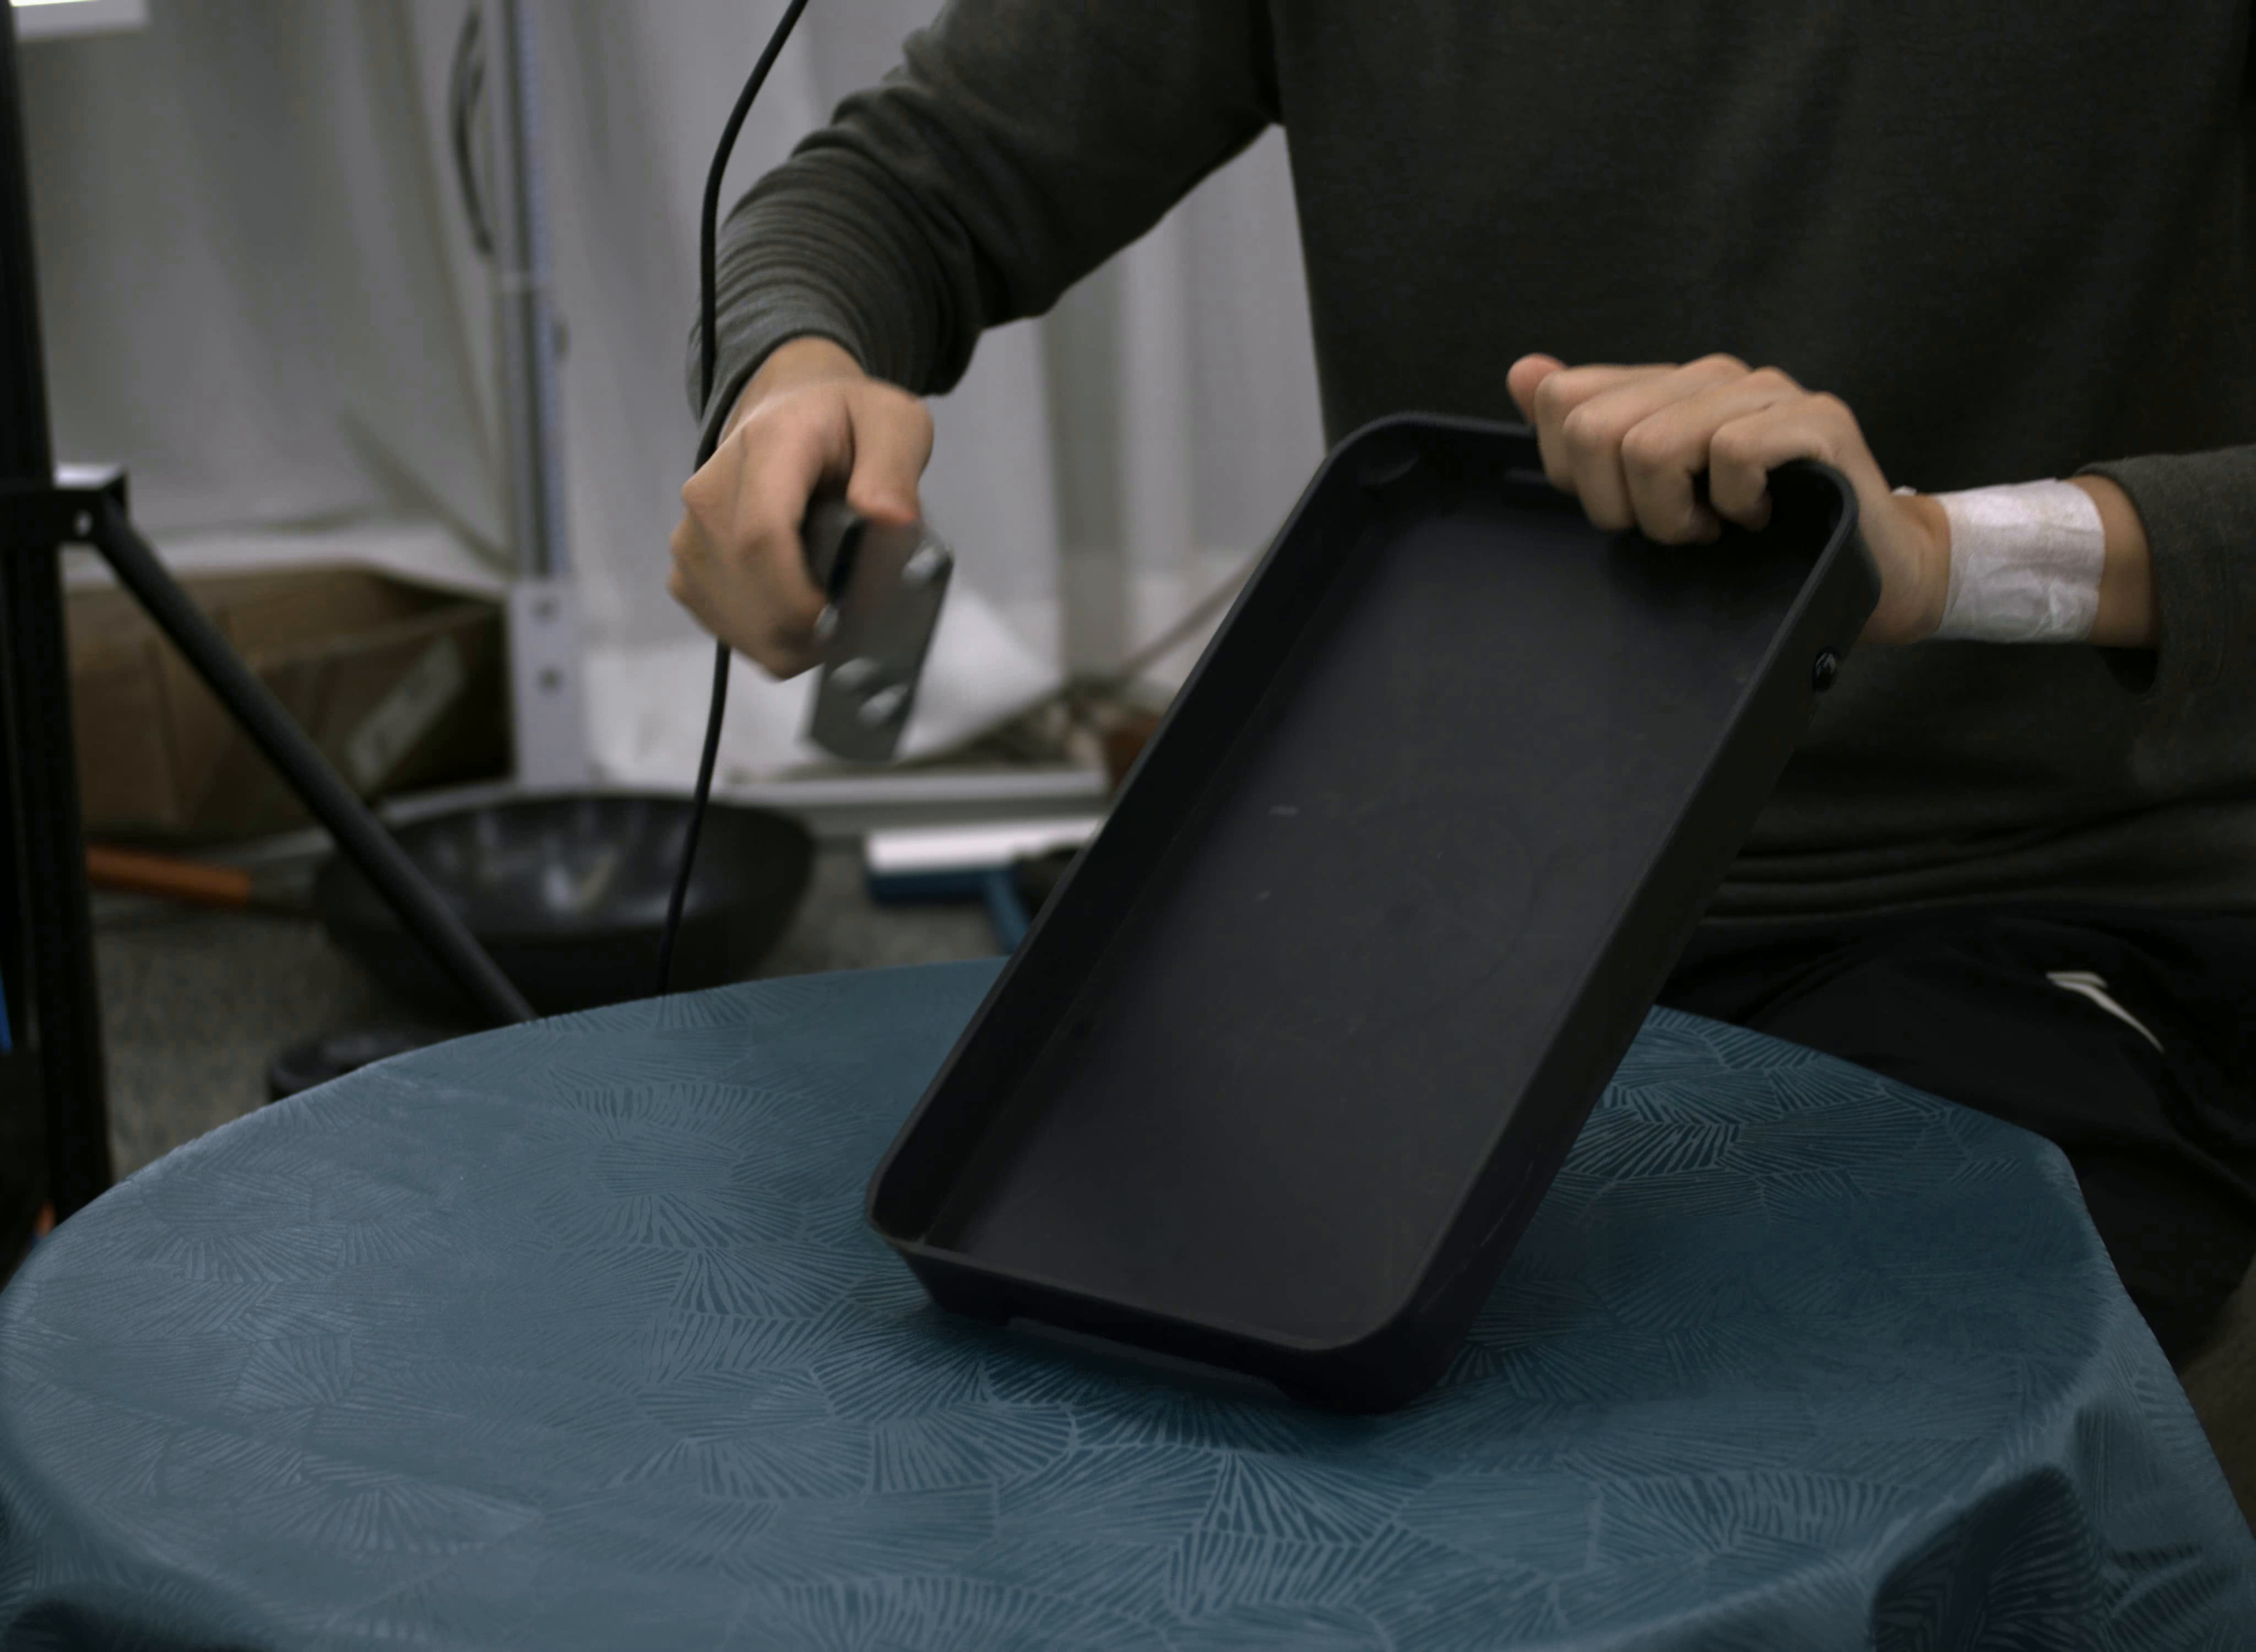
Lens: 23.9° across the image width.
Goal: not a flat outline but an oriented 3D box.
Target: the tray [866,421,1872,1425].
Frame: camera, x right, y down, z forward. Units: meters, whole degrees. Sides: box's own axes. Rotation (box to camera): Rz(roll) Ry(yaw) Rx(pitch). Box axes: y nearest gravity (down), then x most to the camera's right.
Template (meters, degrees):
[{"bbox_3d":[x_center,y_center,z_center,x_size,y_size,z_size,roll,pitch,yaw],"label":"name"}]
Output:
[{"bbox_3d":[0.071,0.019,1.486,0.188,0.036,0.317,8,55,38],"label":"tray"}]

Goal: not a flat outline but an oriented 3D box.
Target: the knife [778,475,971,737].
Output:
[{"bbox_3d":[-0.074,-0.064,1.522,0.020,0.081,0.305,11,6,-11],"label":"knife"}]
